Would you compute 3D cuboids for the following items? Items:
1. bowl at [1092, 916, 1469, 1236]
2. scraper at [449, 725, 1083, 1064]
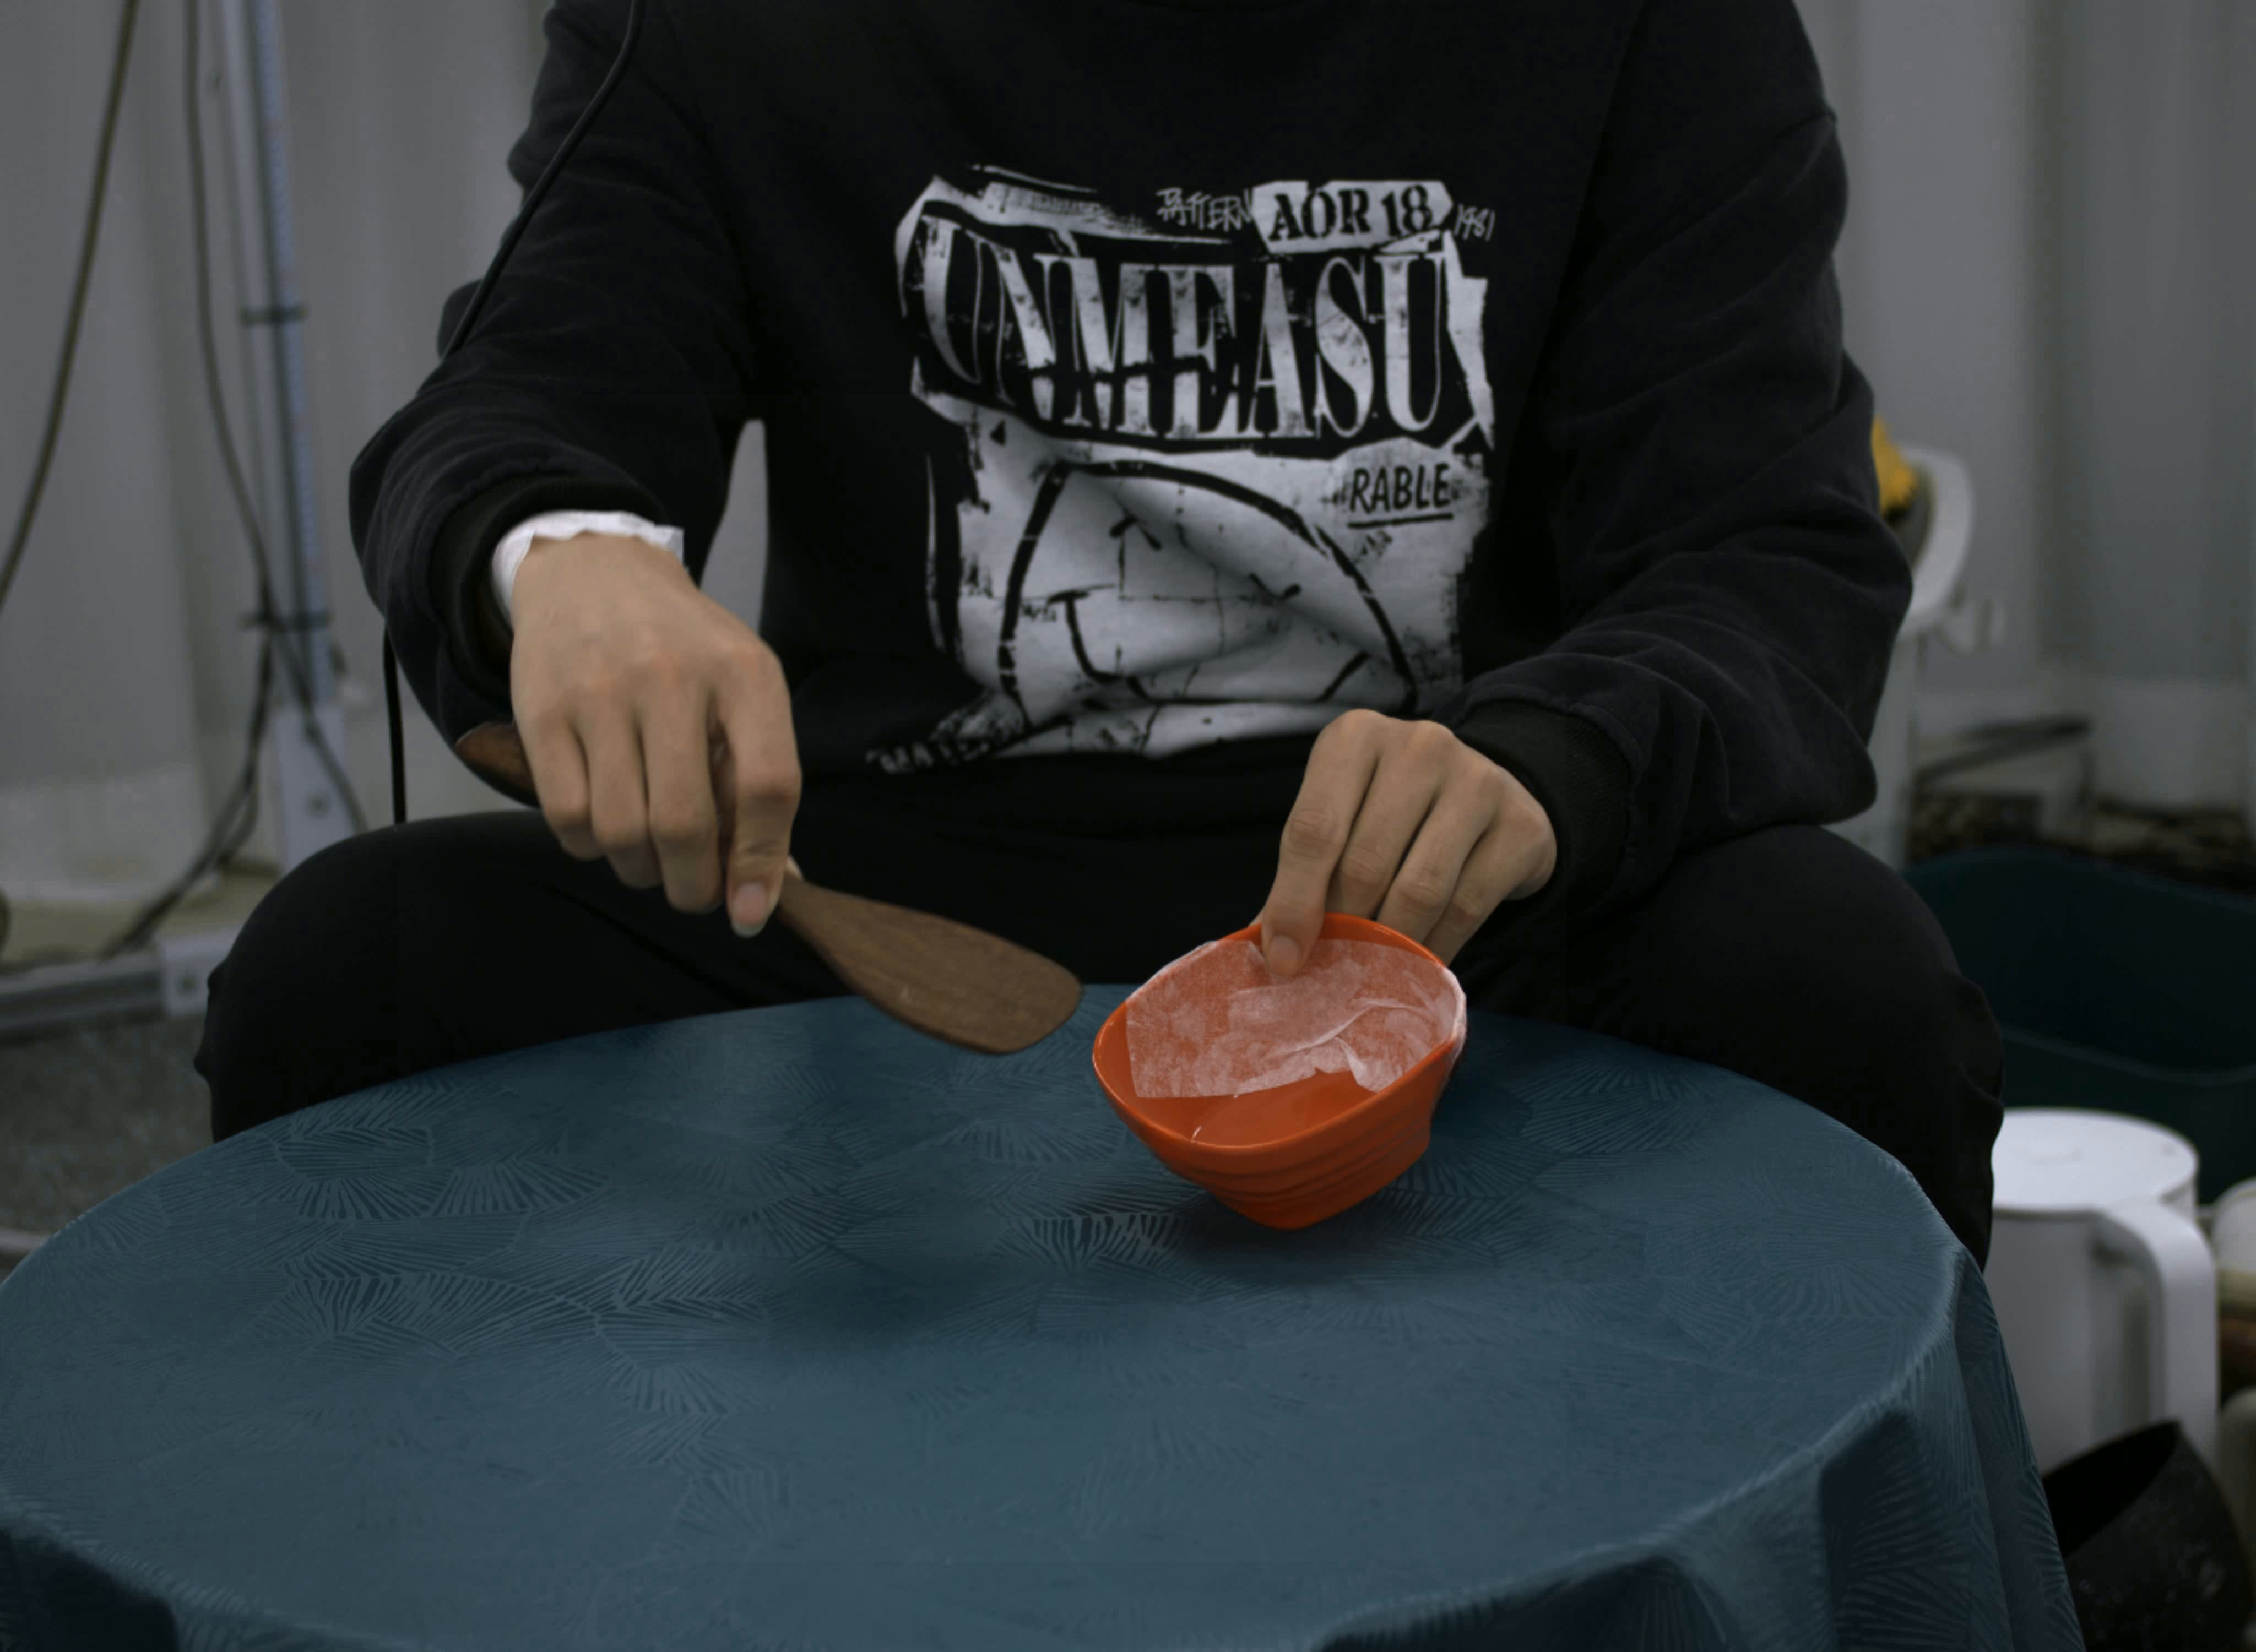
[{"bbox_3d":[0.052,0.083,1.689,0.118,0.051,0.120,-13,32,8],"label":"bowl"},{"bbox_3d":[-0.114,0.019,1.664,0.212,0.011,0.076,27,25,13],"label":"scraper"}]
